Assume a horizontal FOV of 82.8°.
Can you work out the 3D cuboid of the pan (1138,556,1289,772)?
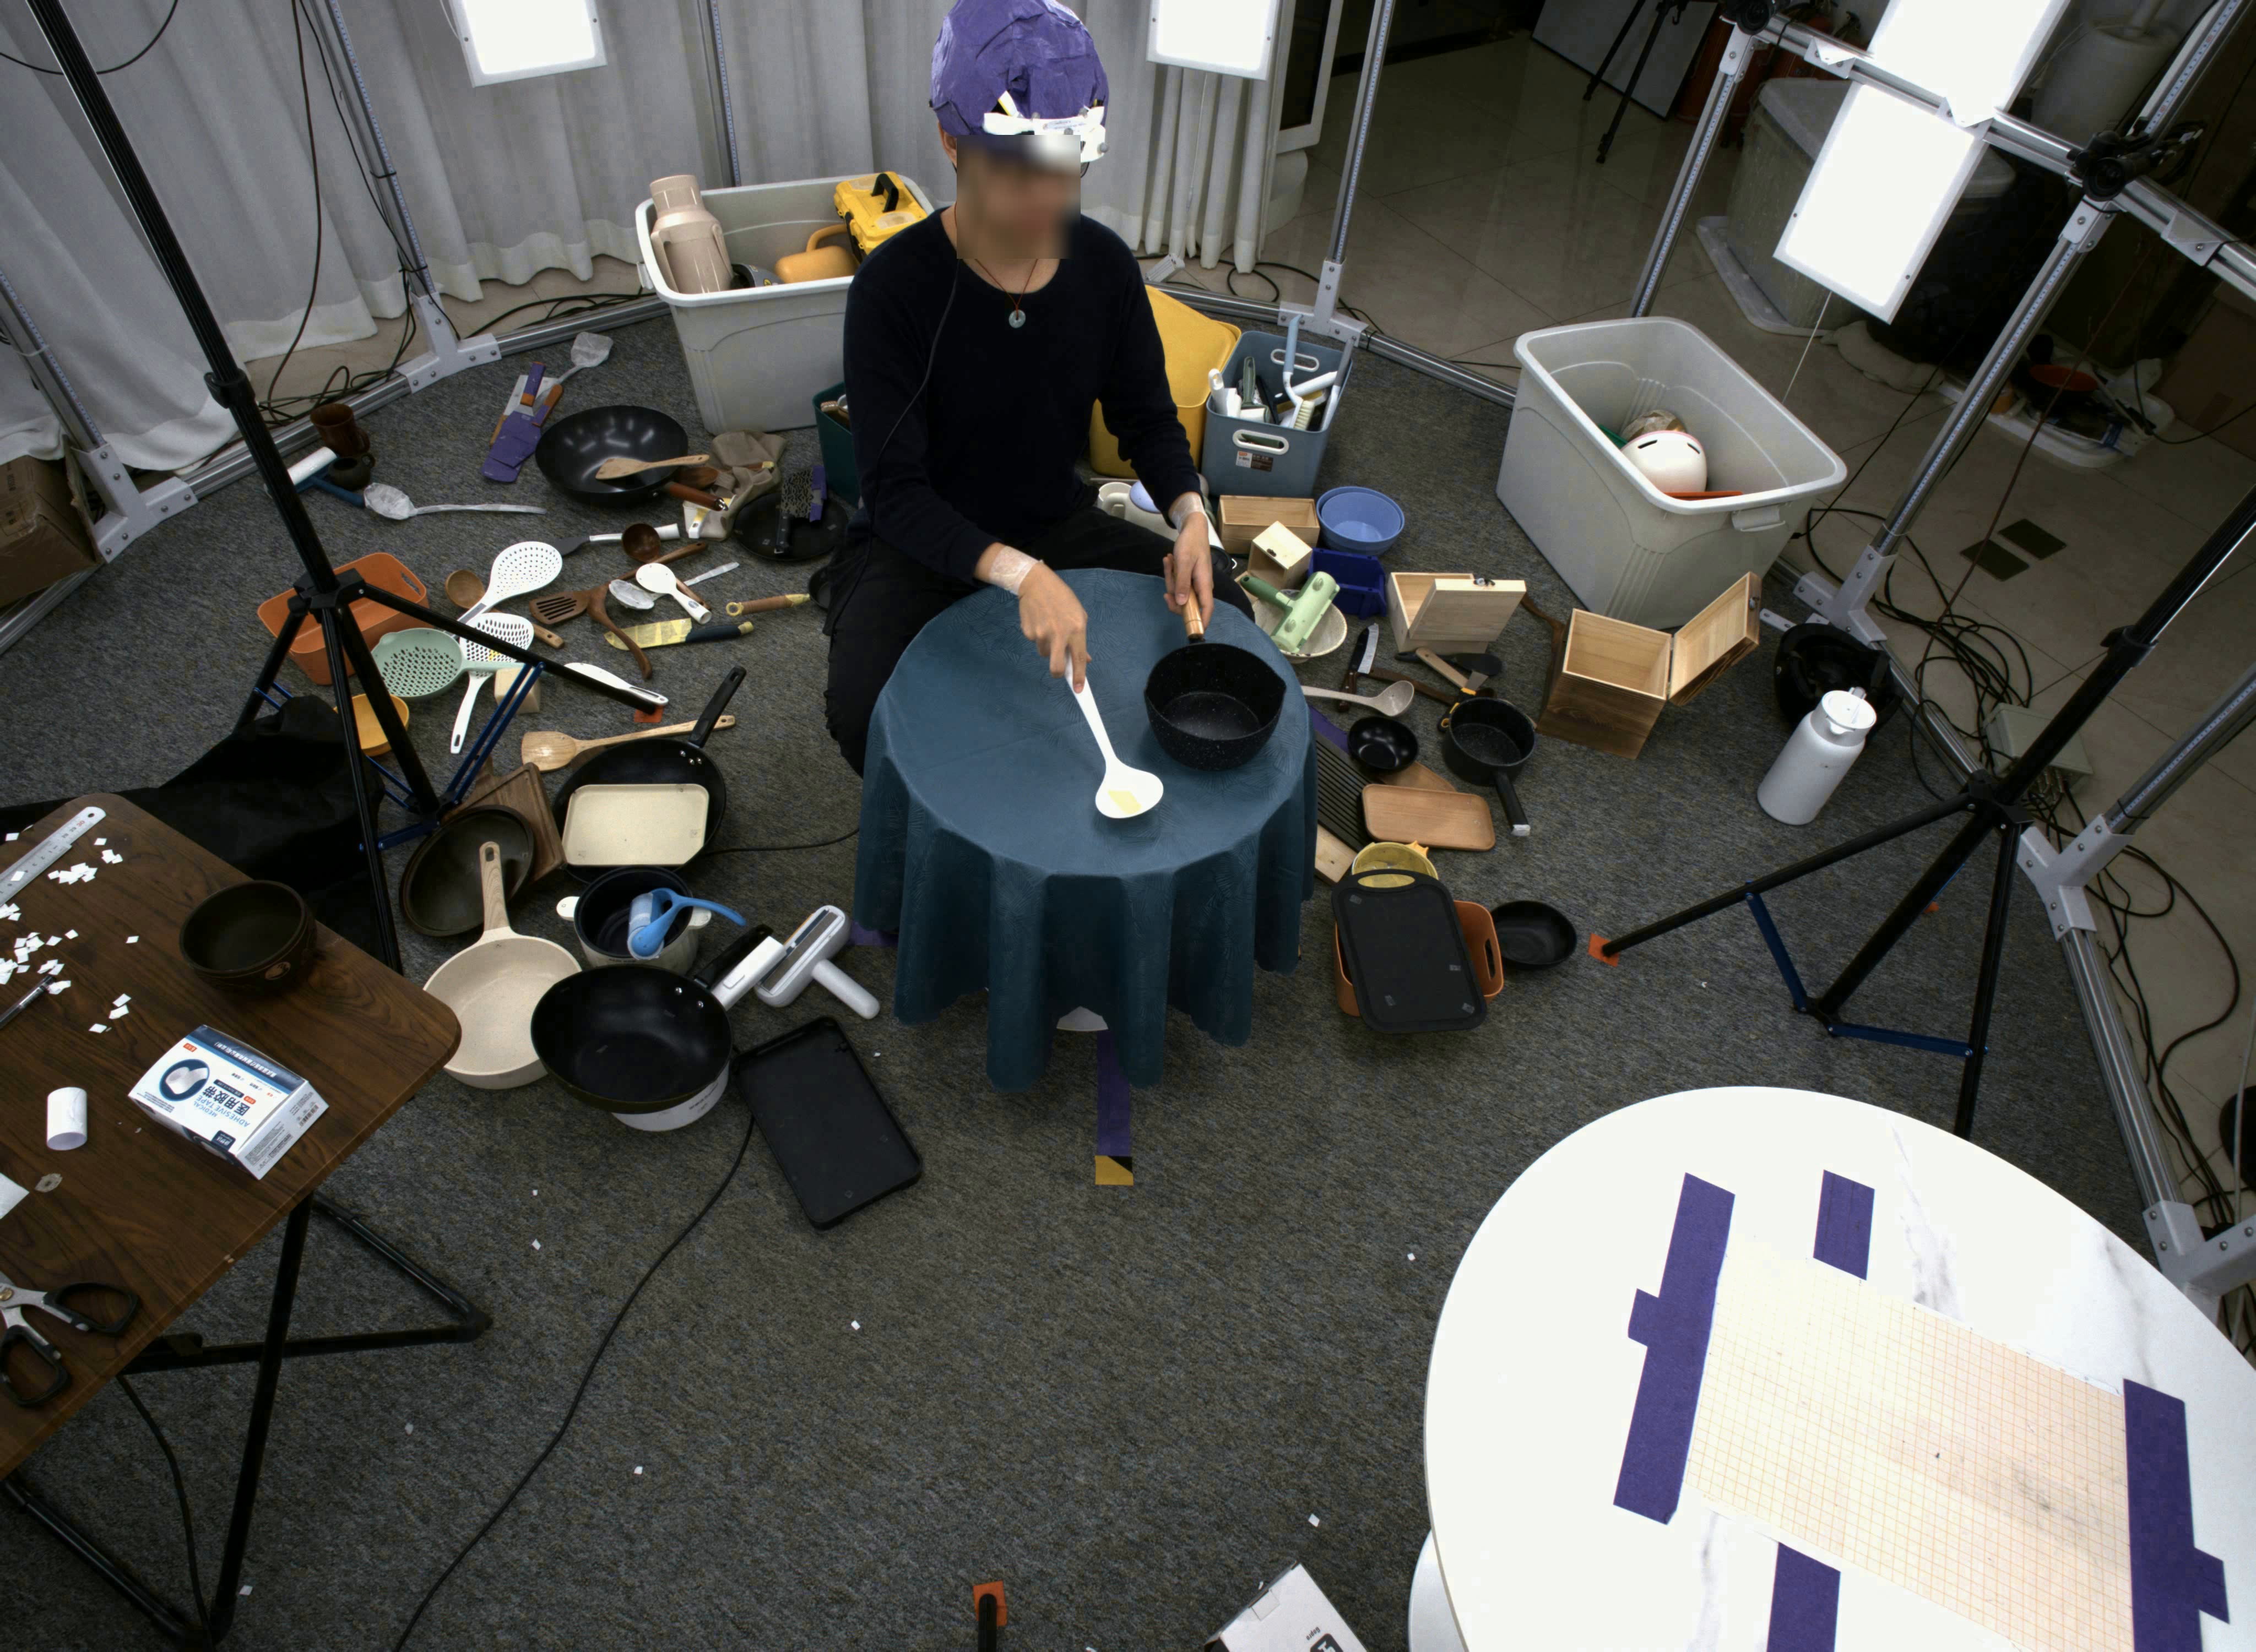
[{"bbox_3d":[0.100,-0.227,1.800,0.207,0.105,0.351,-7,52,-9],"label":"pan"}]

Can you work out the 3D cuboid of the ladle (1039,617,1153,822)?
[{"bbox_3d":[-0.053,-0.142,1.684,0.090,0.069,0.295,-22,81,0],"label":"ladle"}]
